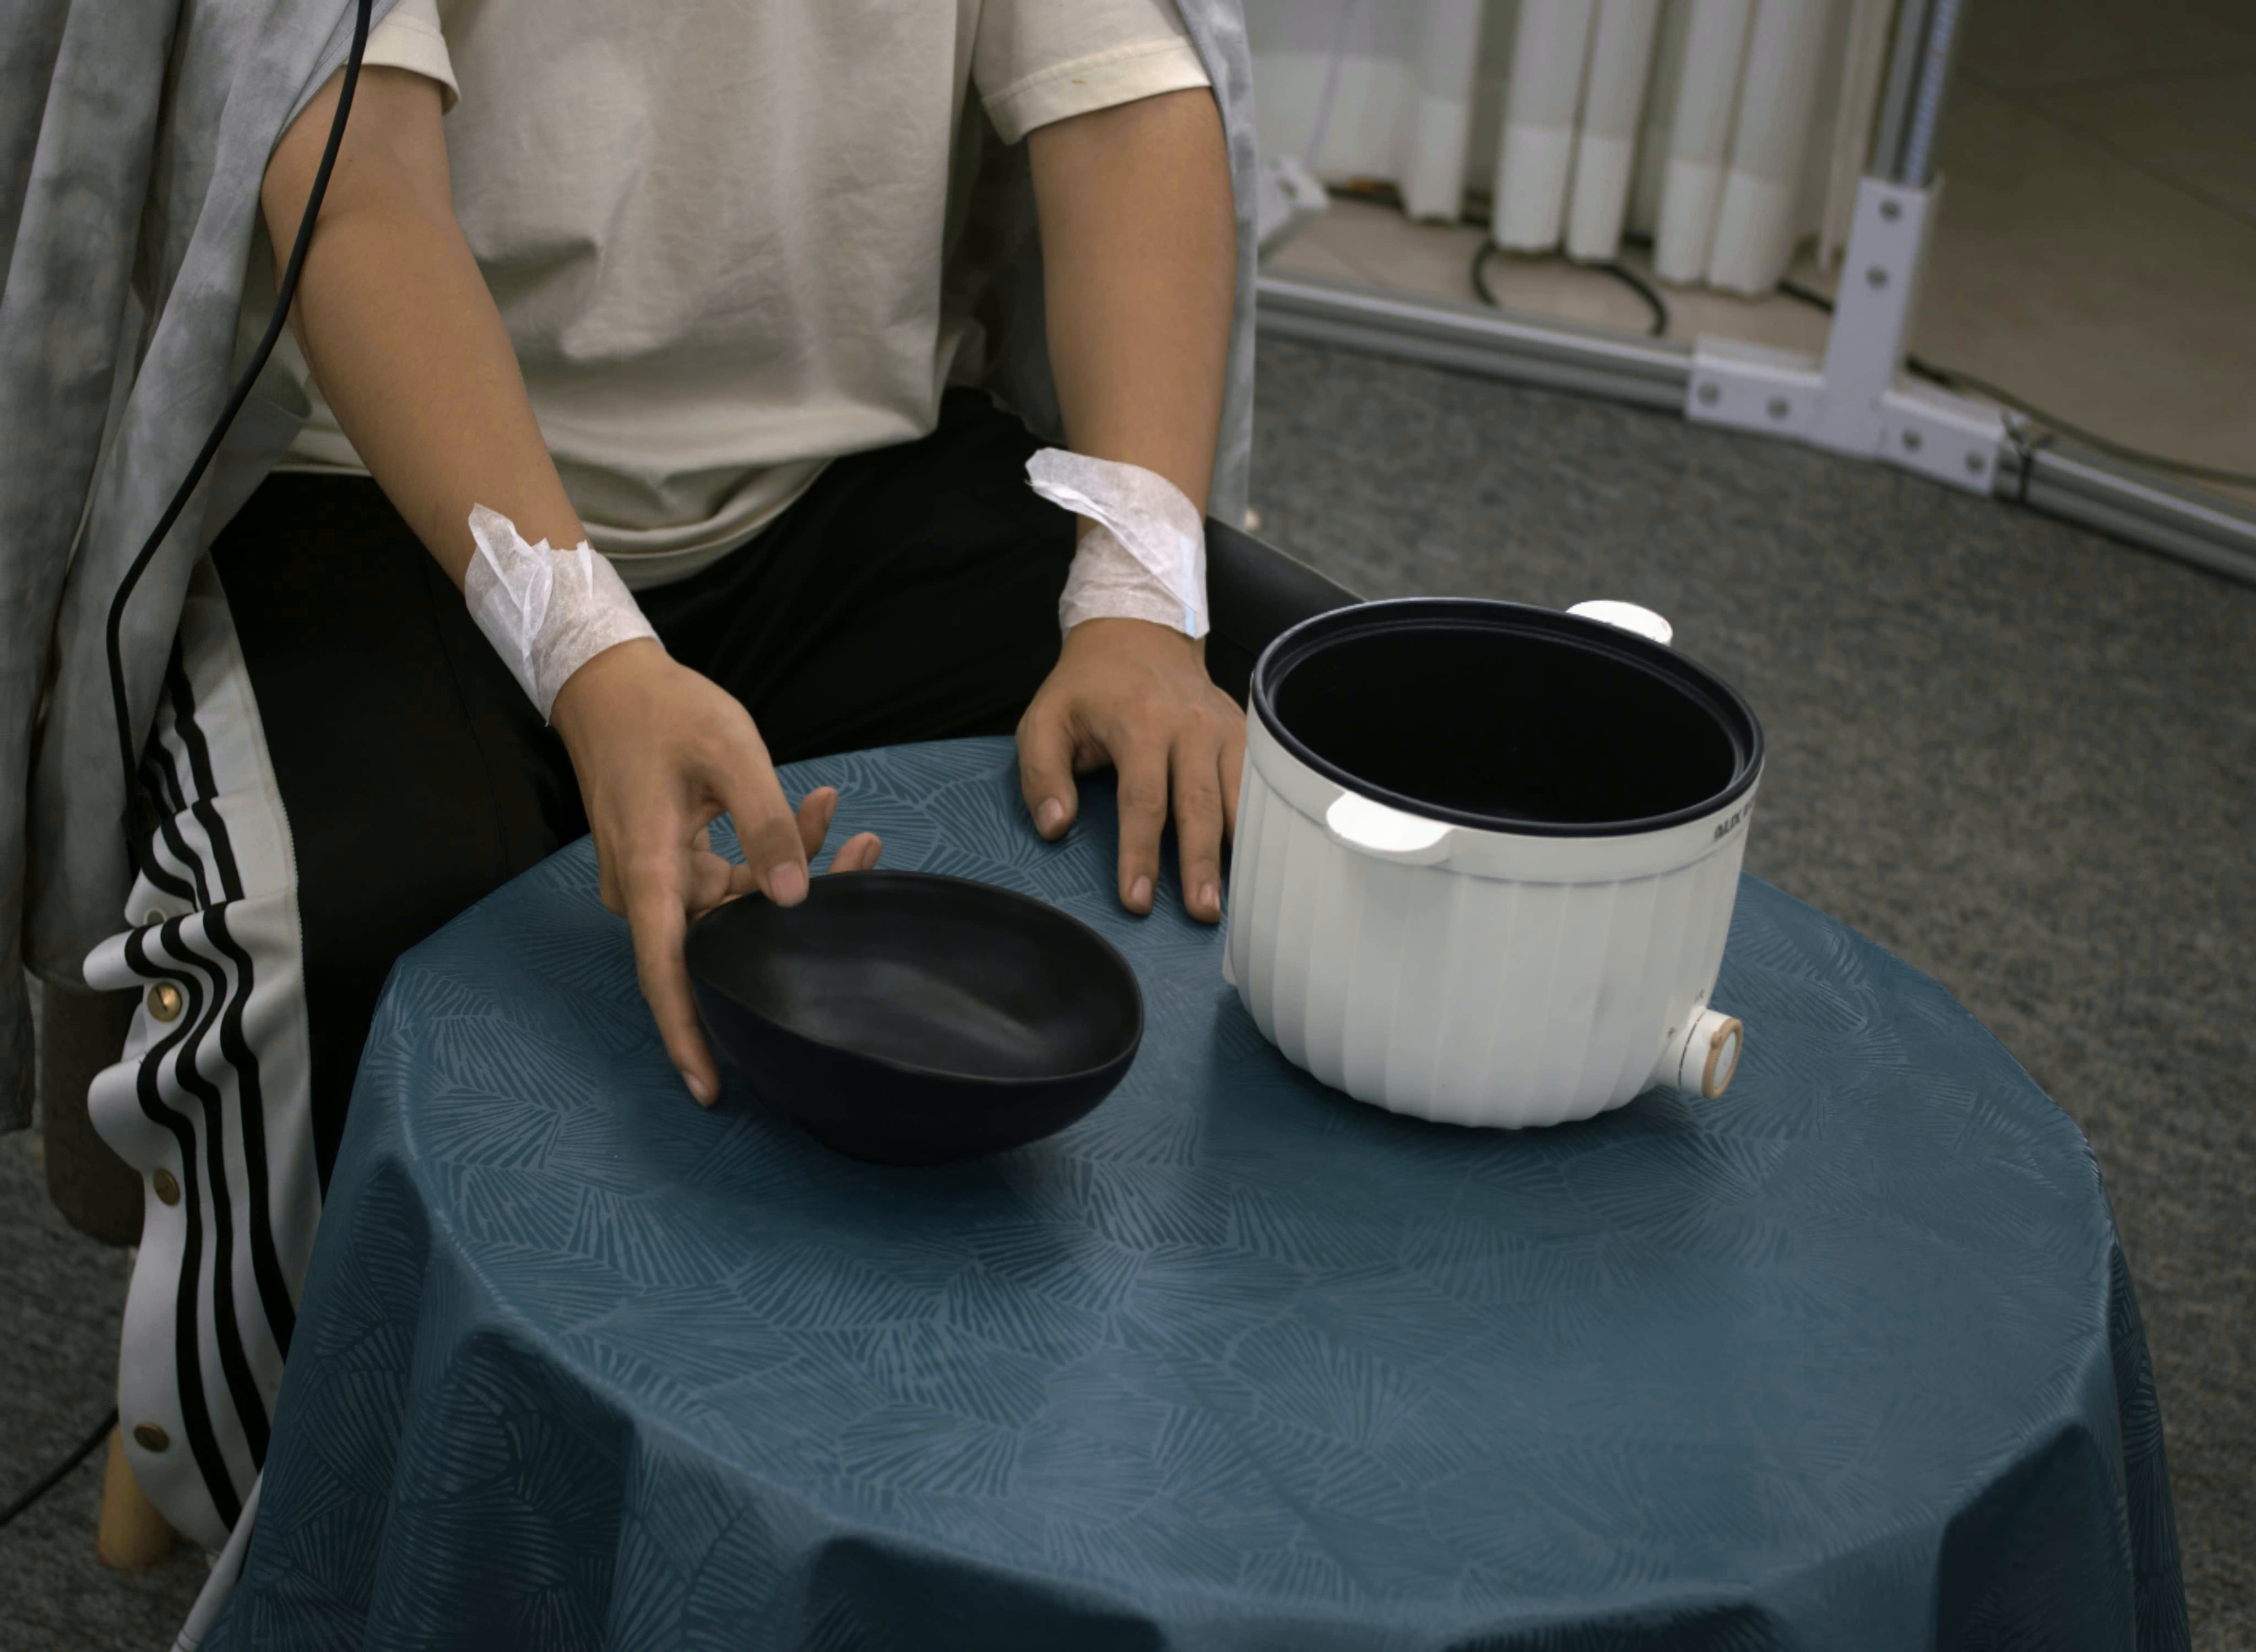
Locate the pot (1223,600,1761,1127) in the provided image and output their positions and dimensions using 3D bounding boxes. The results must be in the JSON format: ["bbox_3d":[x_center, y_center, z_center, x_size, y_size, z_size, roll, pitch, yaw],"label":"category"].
[{"bbox_3d":[0.131,0.018,1.889,0.191,0.142,0.240,15,28,23],"label":"pot"}]

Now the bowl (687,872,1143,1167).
[{"bbox_3d":[-0.077,0.074,1.815,0.171,0.066,0.137,21,29,28],"label":"bowl"}]
